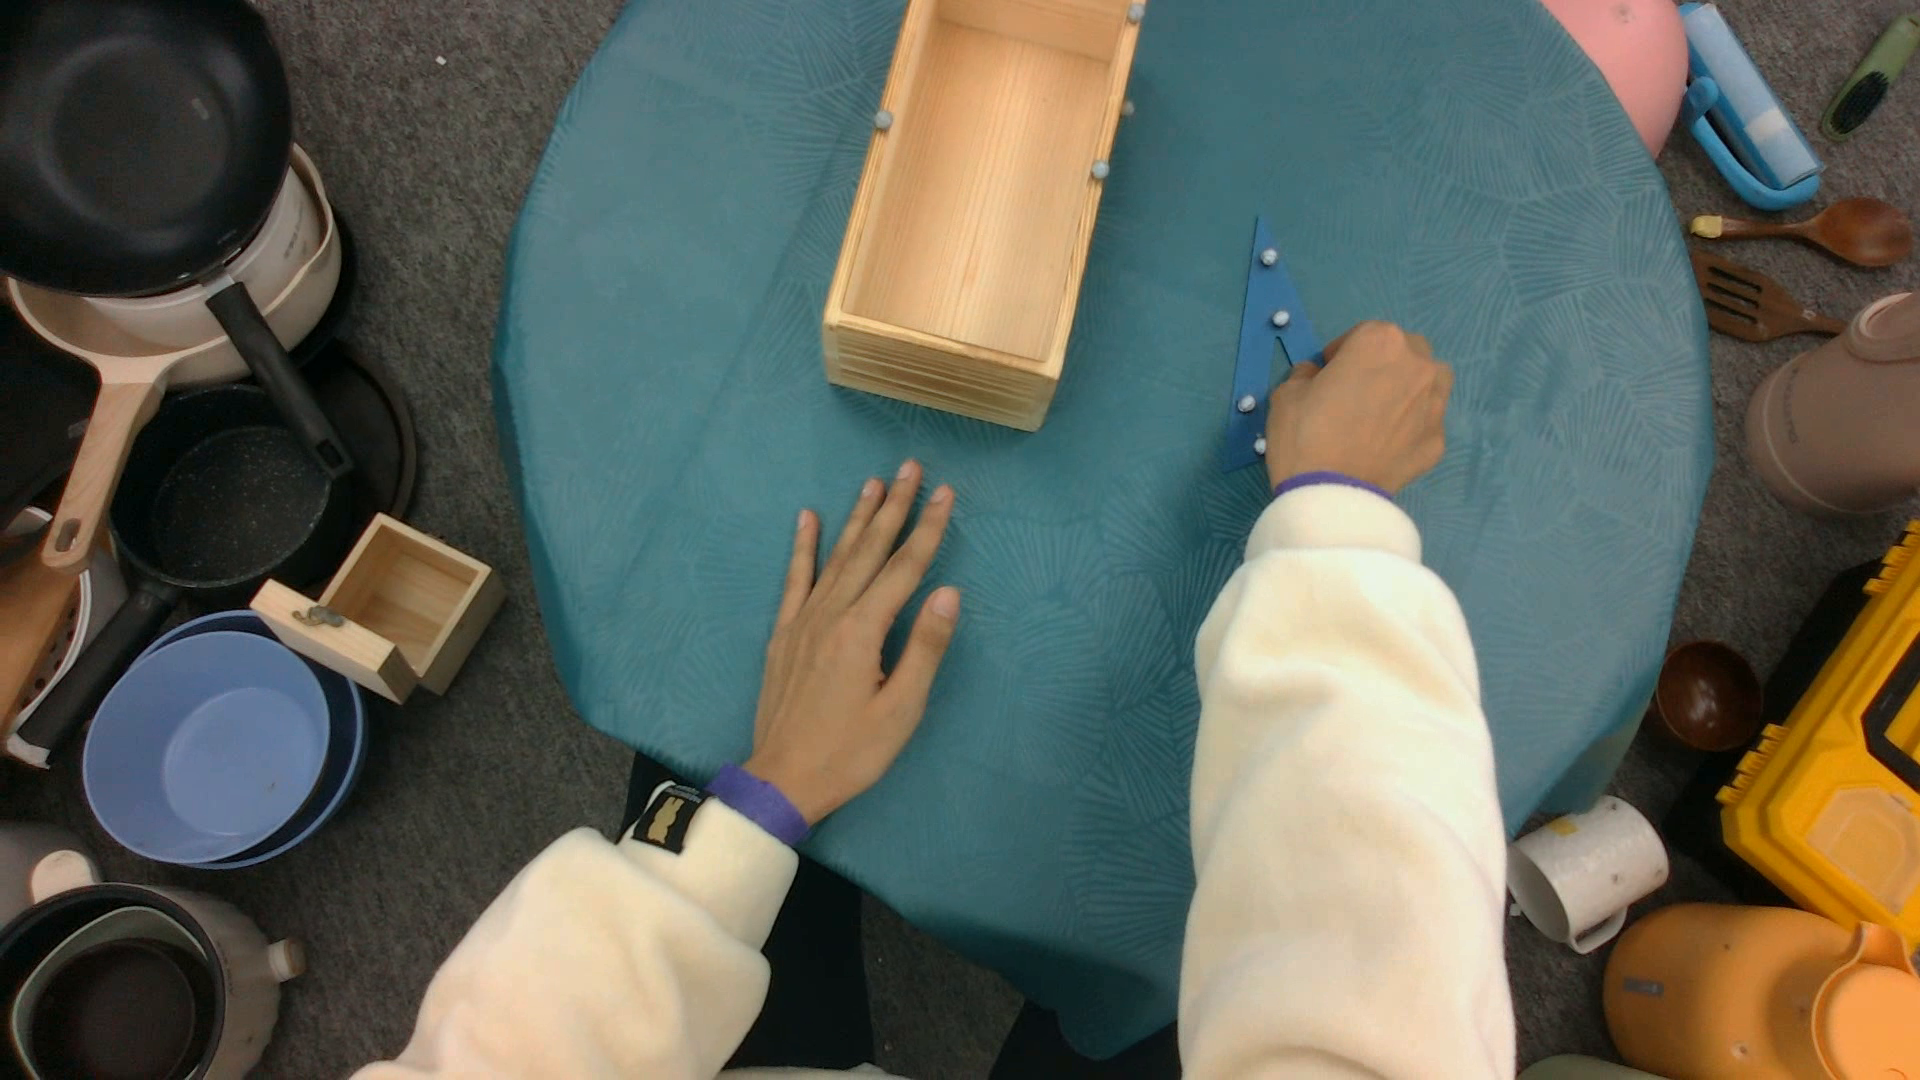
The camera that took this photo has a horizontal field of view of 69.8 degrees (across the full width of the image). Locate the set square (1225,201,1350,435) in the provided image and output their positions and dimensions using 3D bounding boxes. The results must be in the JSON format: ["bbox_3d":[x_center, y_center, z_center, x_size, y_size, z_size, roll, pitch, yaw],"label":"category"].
[{"bbox_3d":[0.172,-0.108,0.688,0.061,0.006,0.132,13,76,2],"label":"set square"}]

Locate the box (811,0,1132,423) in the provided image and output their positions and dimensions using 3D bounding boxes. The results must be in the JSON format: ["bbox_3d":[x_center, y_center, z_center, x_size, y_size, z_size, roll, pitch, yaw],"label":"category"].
[{"bbox_3d":[0.008,-0.175,0.653,0.107,0.080,0.212,13,75,-1],"label":"box"}]
